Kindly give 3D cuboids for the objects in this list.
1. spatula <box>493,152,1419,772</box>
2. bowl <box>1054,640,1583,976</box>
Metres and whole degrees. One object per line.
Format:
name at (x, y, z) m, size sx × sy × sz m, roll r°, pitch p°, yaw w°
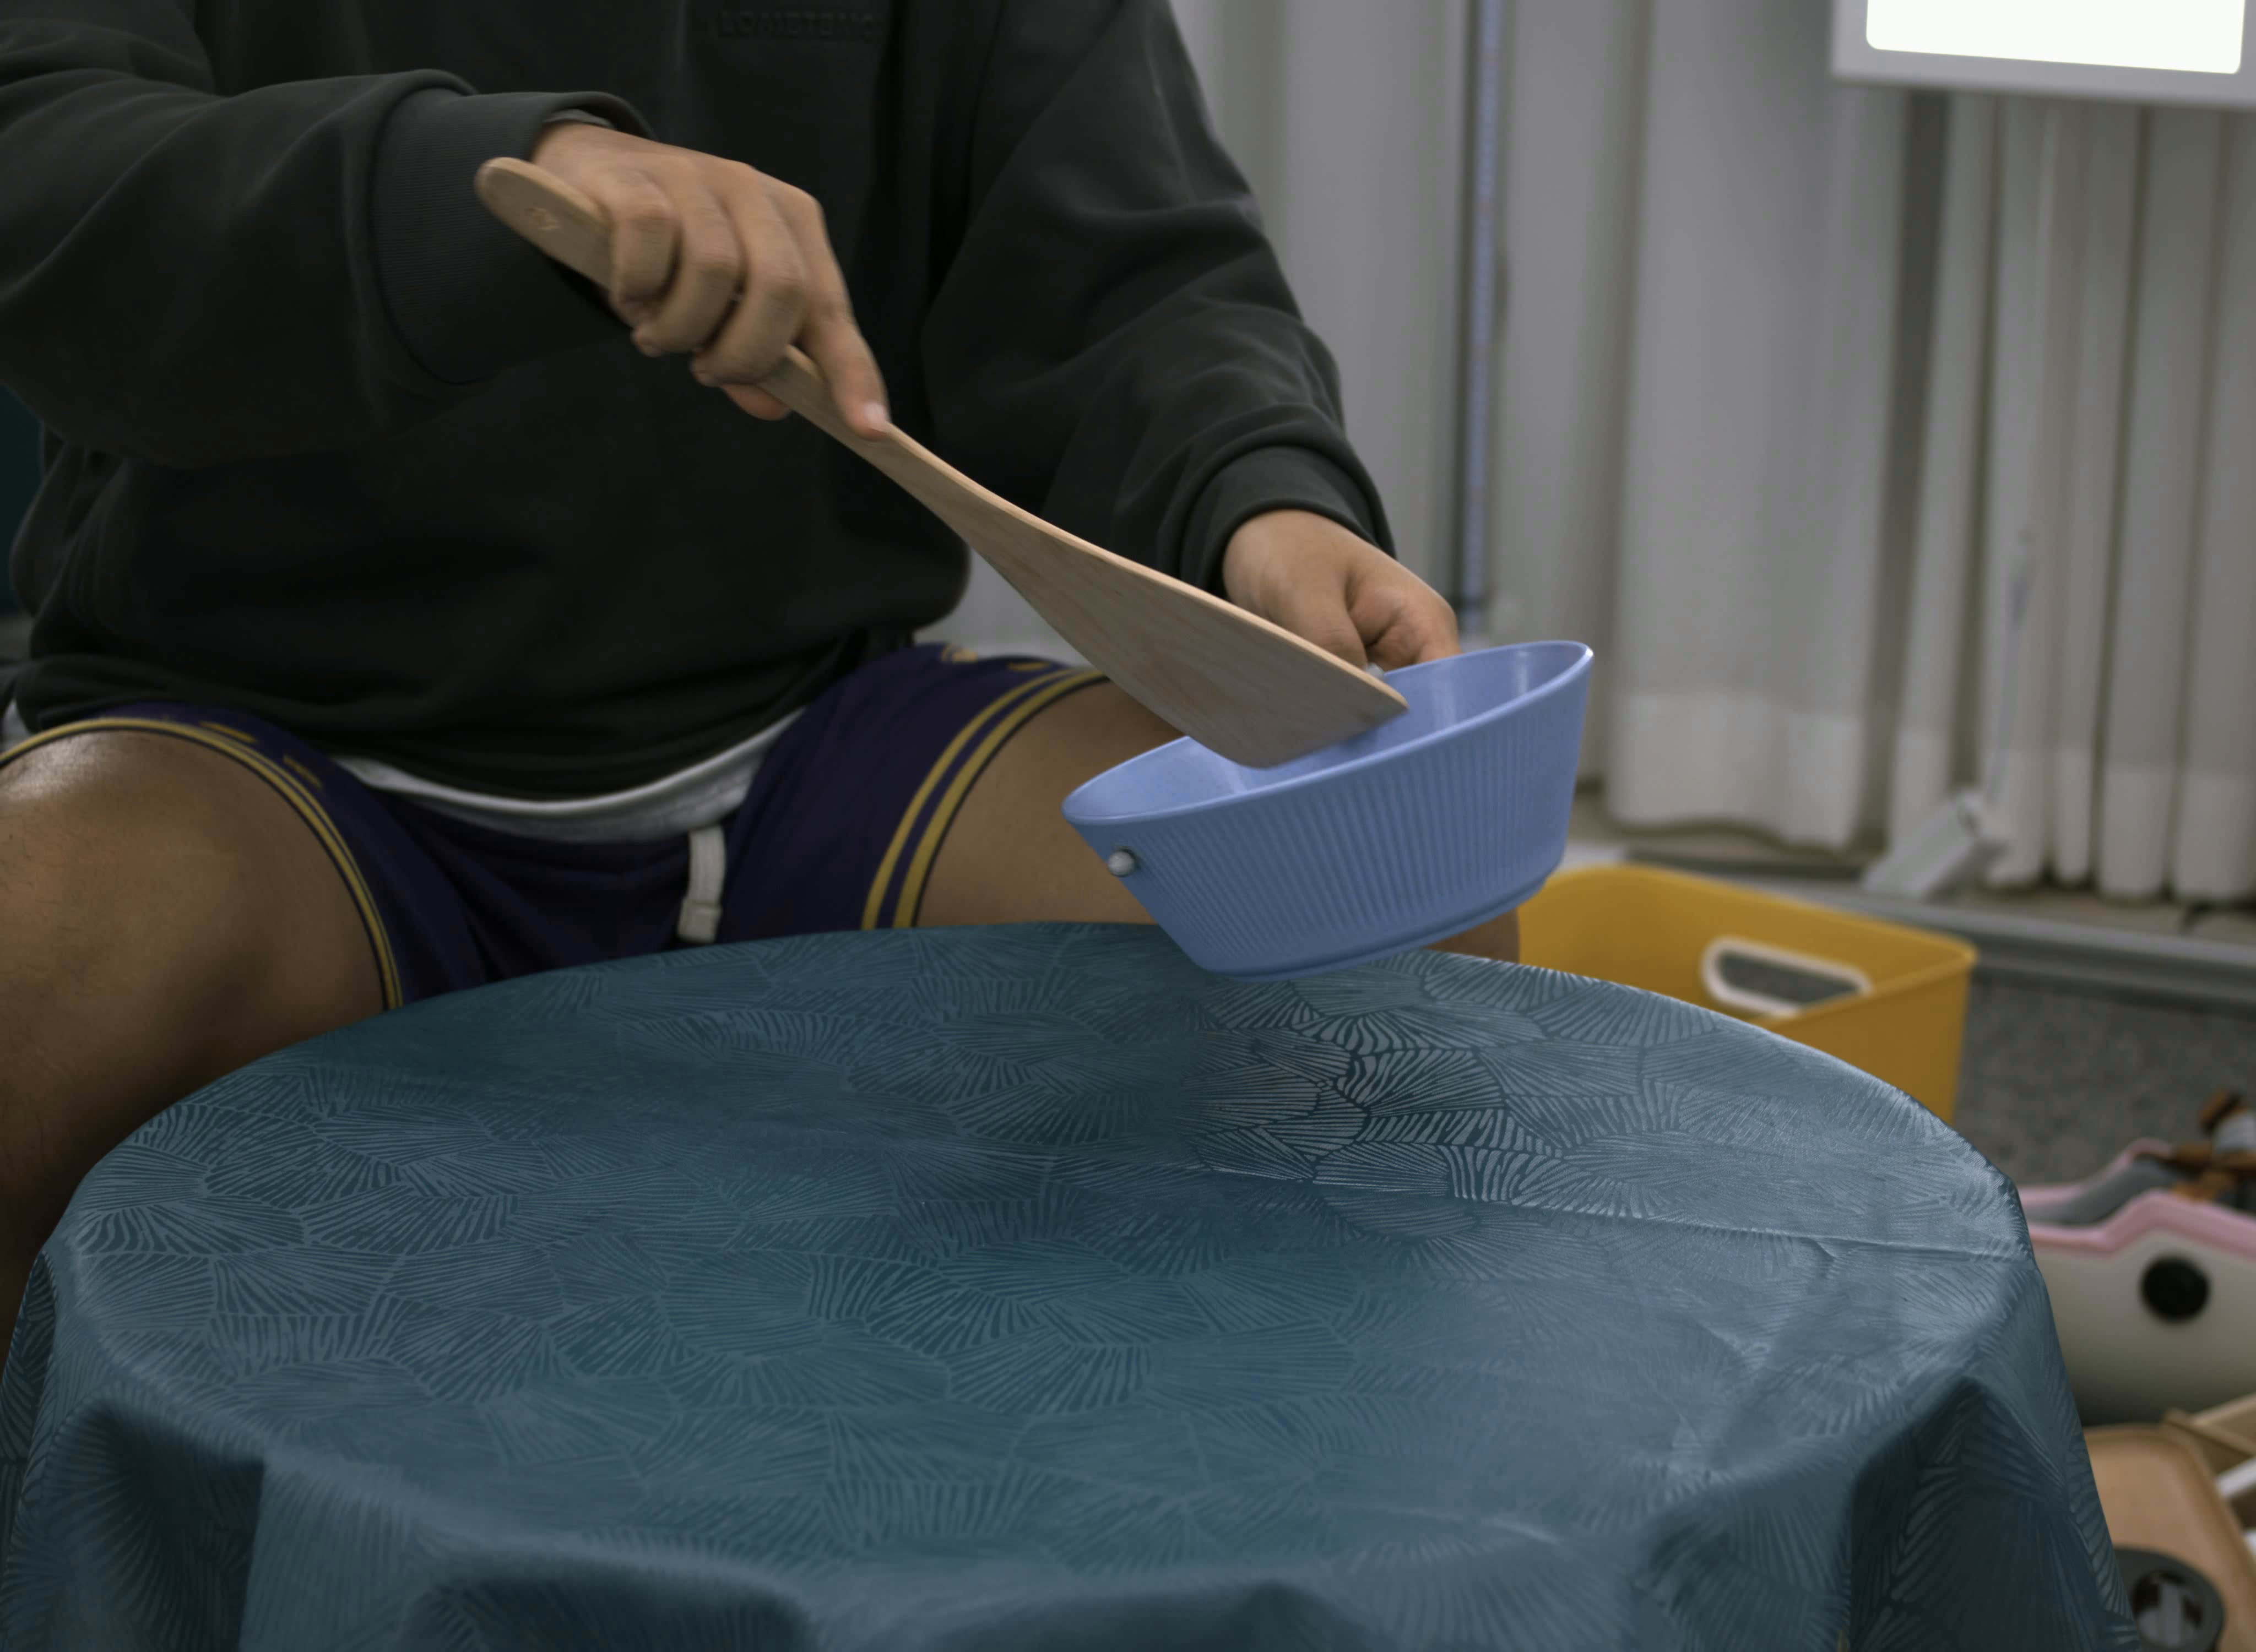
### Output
spatula at (-0.057, -0.109, 1.618) m, size 0.080 × 0.329 × 0.016 m, roll -35°, pitch 24°, yaw 54°
bowl at (0.069, -0.002, 1.675) m, size 0.175 × 0.071 × 0.175 m, roll -17°, pitch 8°, yaw 3°
